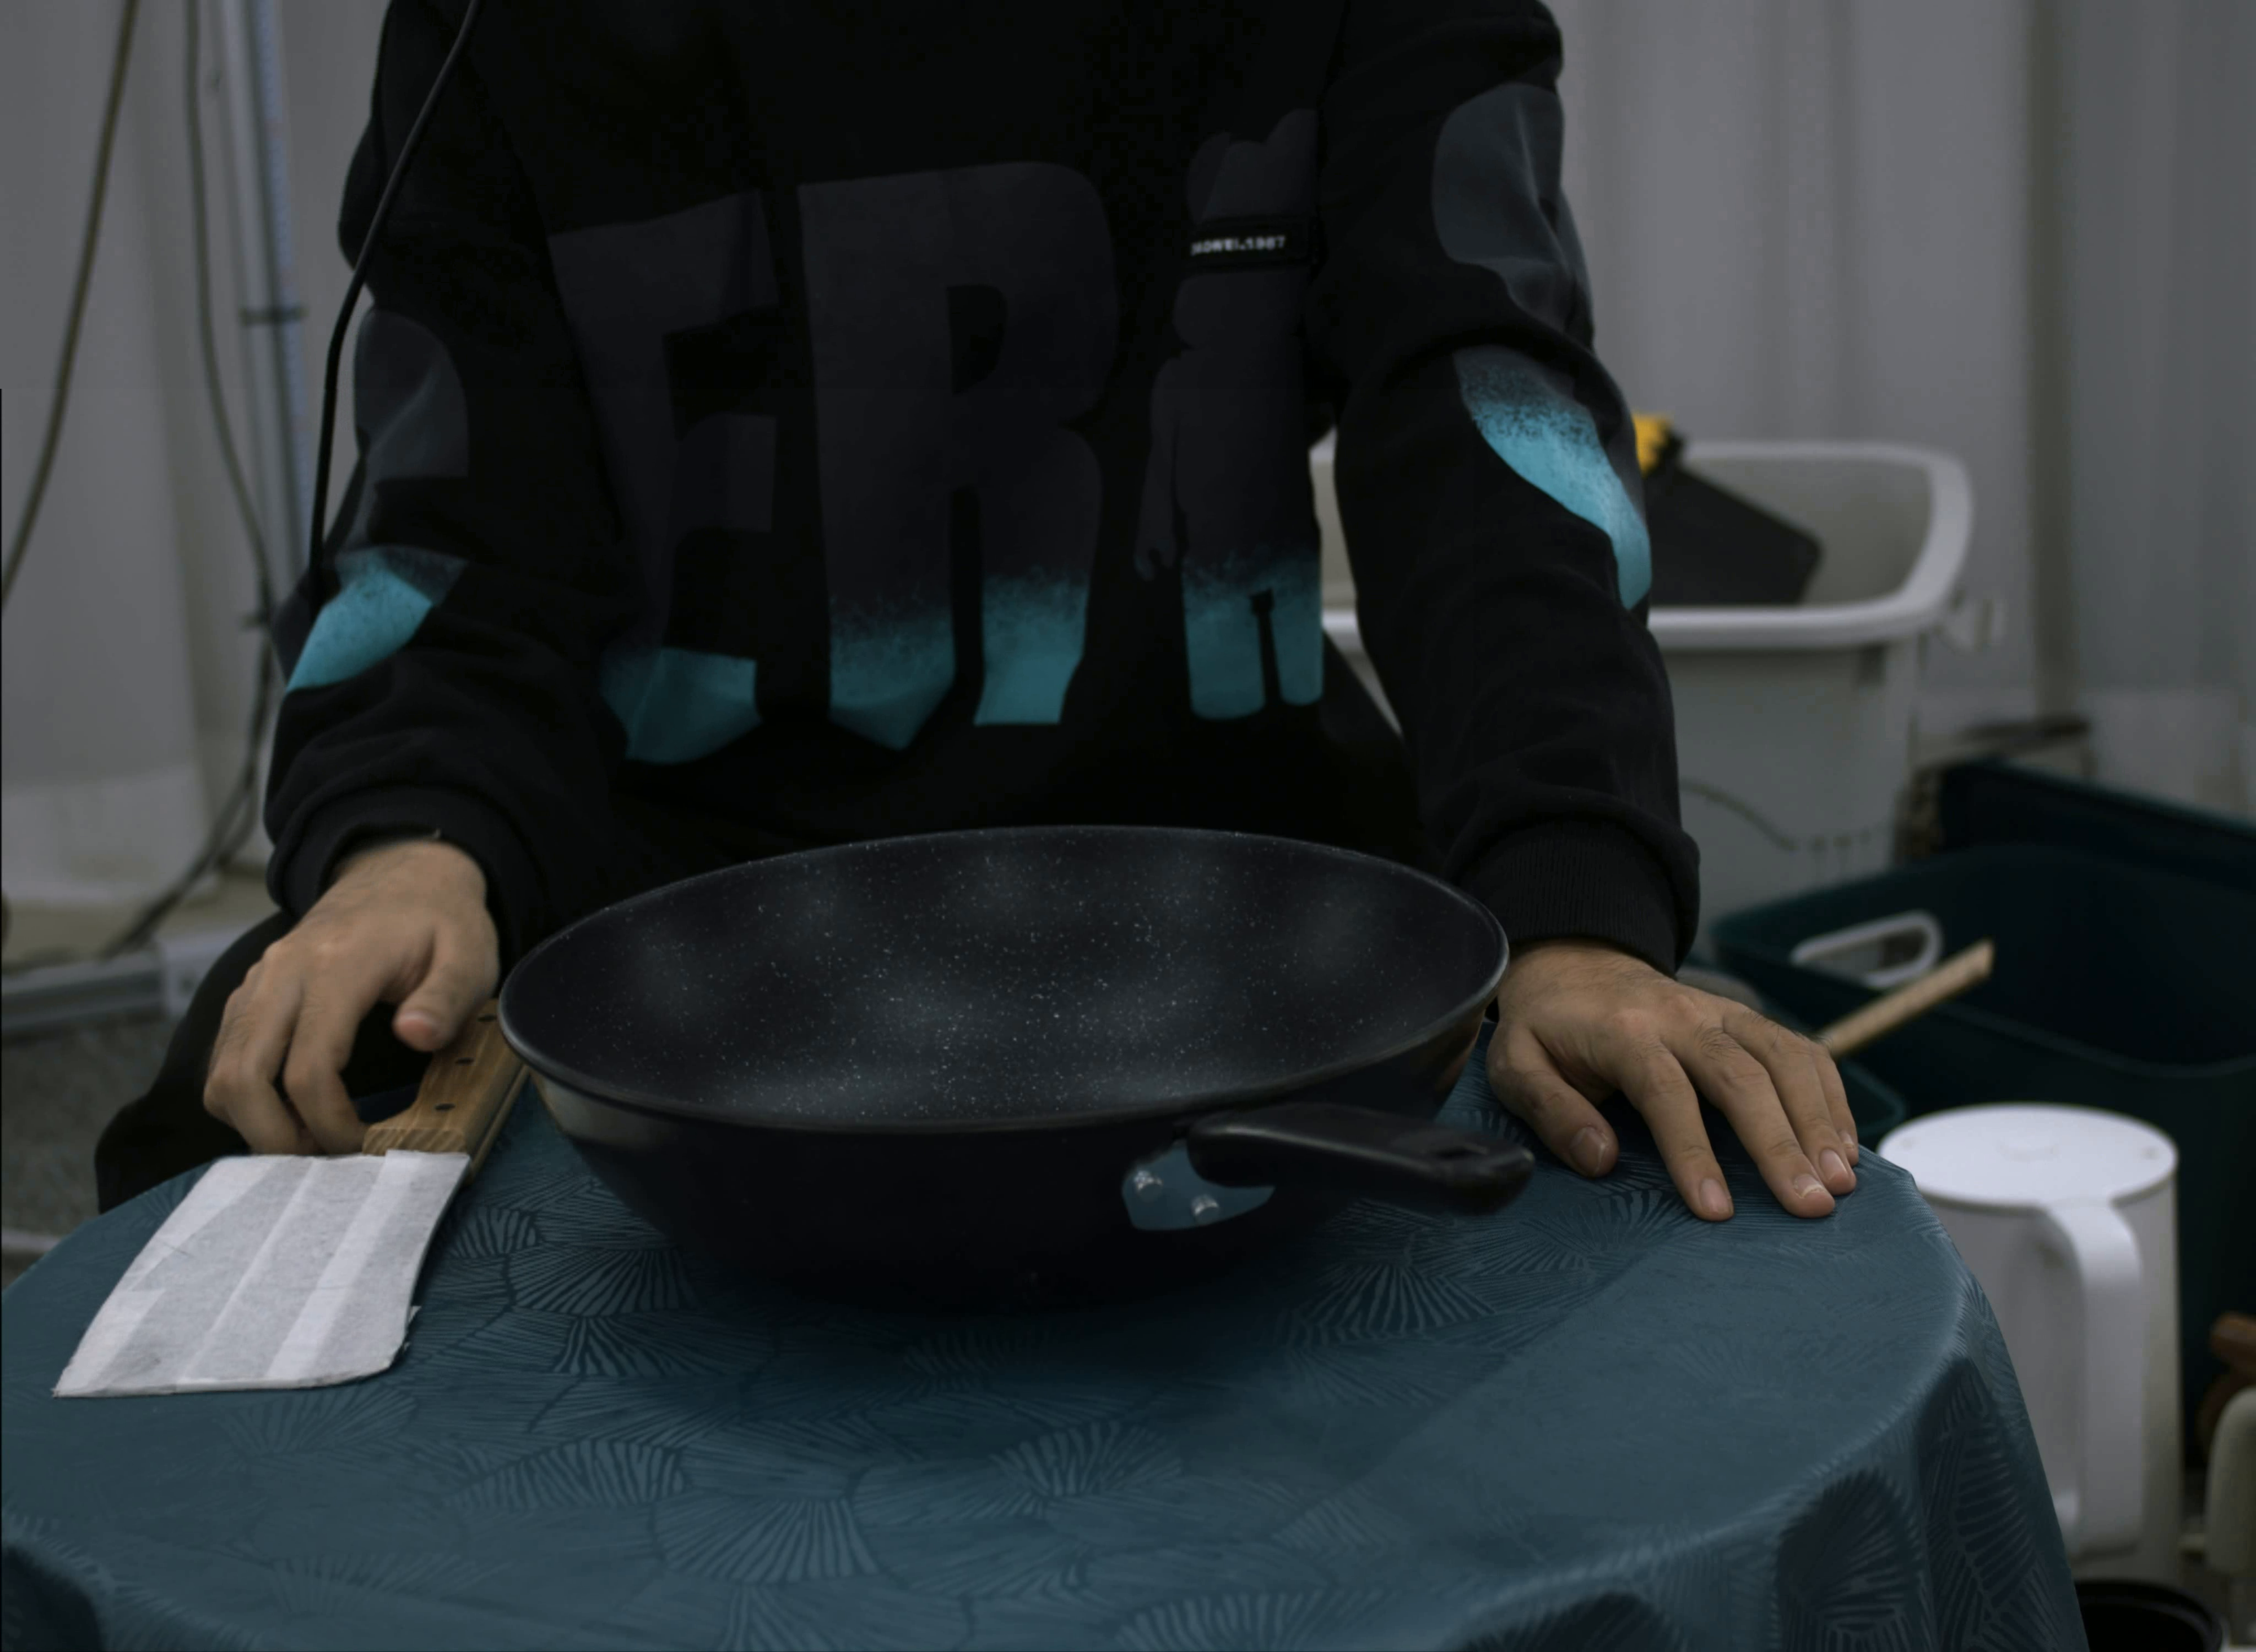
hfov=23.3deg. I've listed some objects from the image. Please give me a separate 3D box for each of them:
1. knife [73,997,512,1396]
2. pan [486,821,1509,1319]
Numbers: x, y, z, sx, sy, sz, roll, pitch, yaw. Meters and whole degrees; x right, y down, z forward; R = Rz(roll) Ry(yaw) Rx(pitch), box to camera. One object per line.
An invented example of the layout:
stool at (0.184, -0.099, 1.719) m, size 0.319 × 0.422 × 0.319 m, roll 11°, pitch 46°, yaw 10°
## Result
knife at (-0.244, 0.116, 1.725) m, size 0.114 × 0.021 × 0.317 m, roll -1°, pitch 18°, yaw 9°
pan at (-0.006, 0.089, 1.609) m, size 0.309 × 0.111 × 0.480 m, roll -11°, pitch 17°, yaw -22°
